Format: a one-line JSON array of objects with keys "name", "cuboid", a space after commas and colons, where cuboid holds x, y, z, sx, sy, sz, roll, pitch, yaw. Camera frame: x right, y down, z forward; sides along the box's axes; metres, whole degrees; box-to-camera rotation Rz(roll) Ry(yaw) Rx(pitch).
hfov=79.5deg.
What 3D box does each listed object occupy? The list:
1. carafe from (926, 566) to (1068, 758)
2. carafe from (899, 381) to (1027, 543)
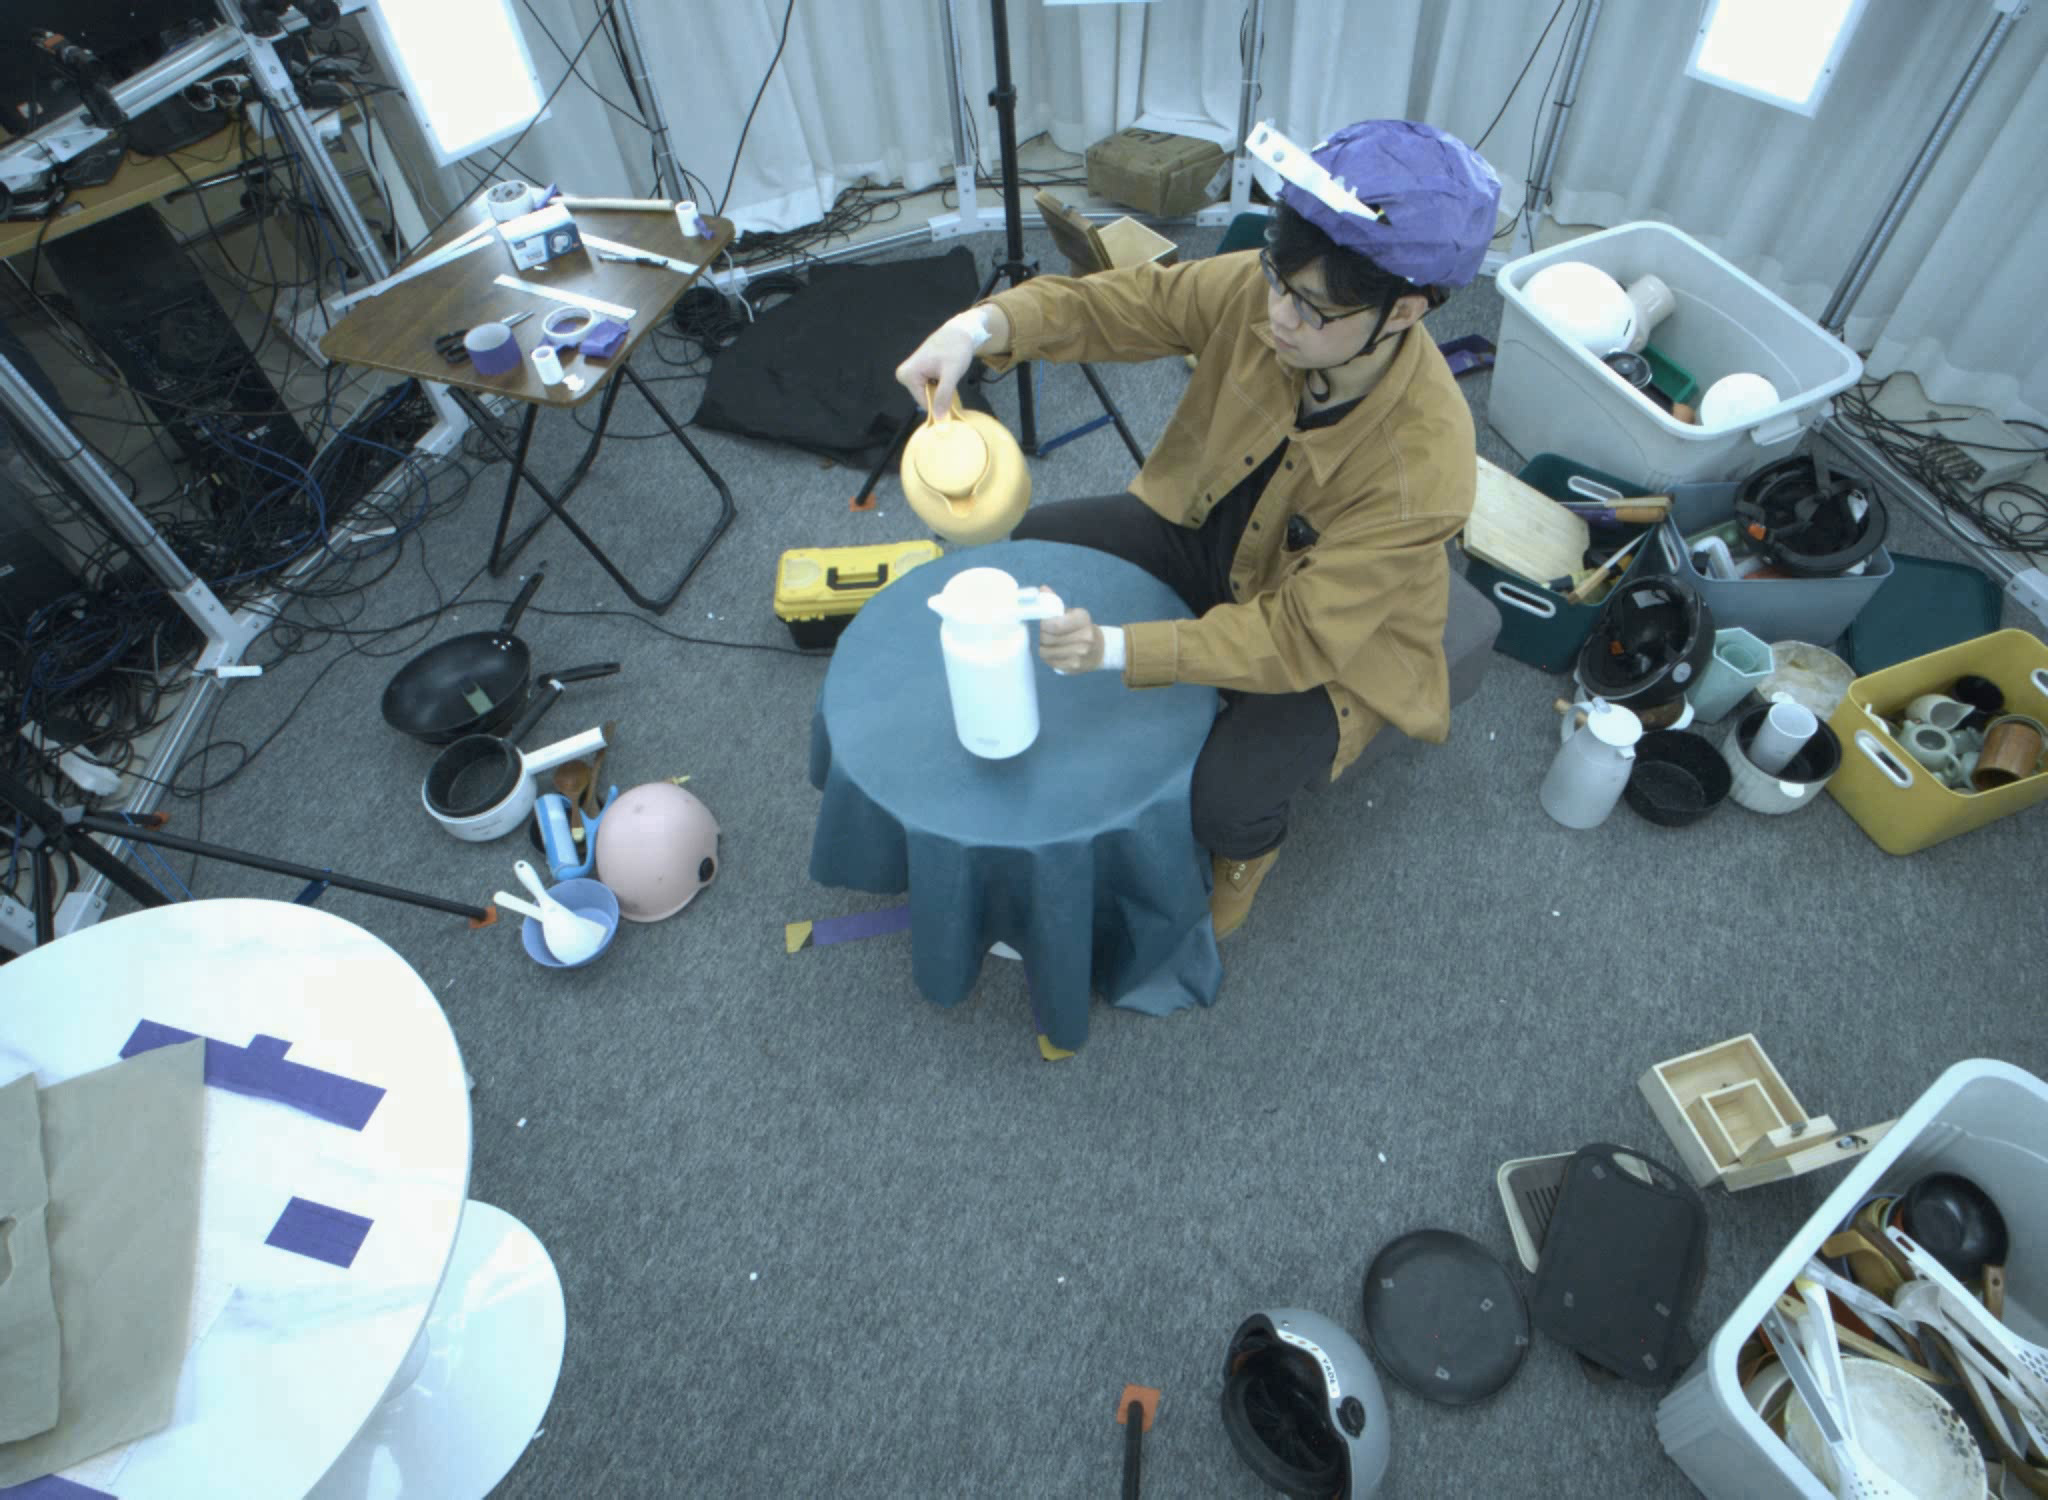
[{"name": "carafe", "cuboid": [-0.029, -0.115, 1.630, 0.173, 0.272, 0.122, -3, 50, 2]}, {"name": "carafe", "cuboid": [-0.085, -0.379, 1.582, 0.163, 0.260, 0.203, -10, 94, 1]}]
